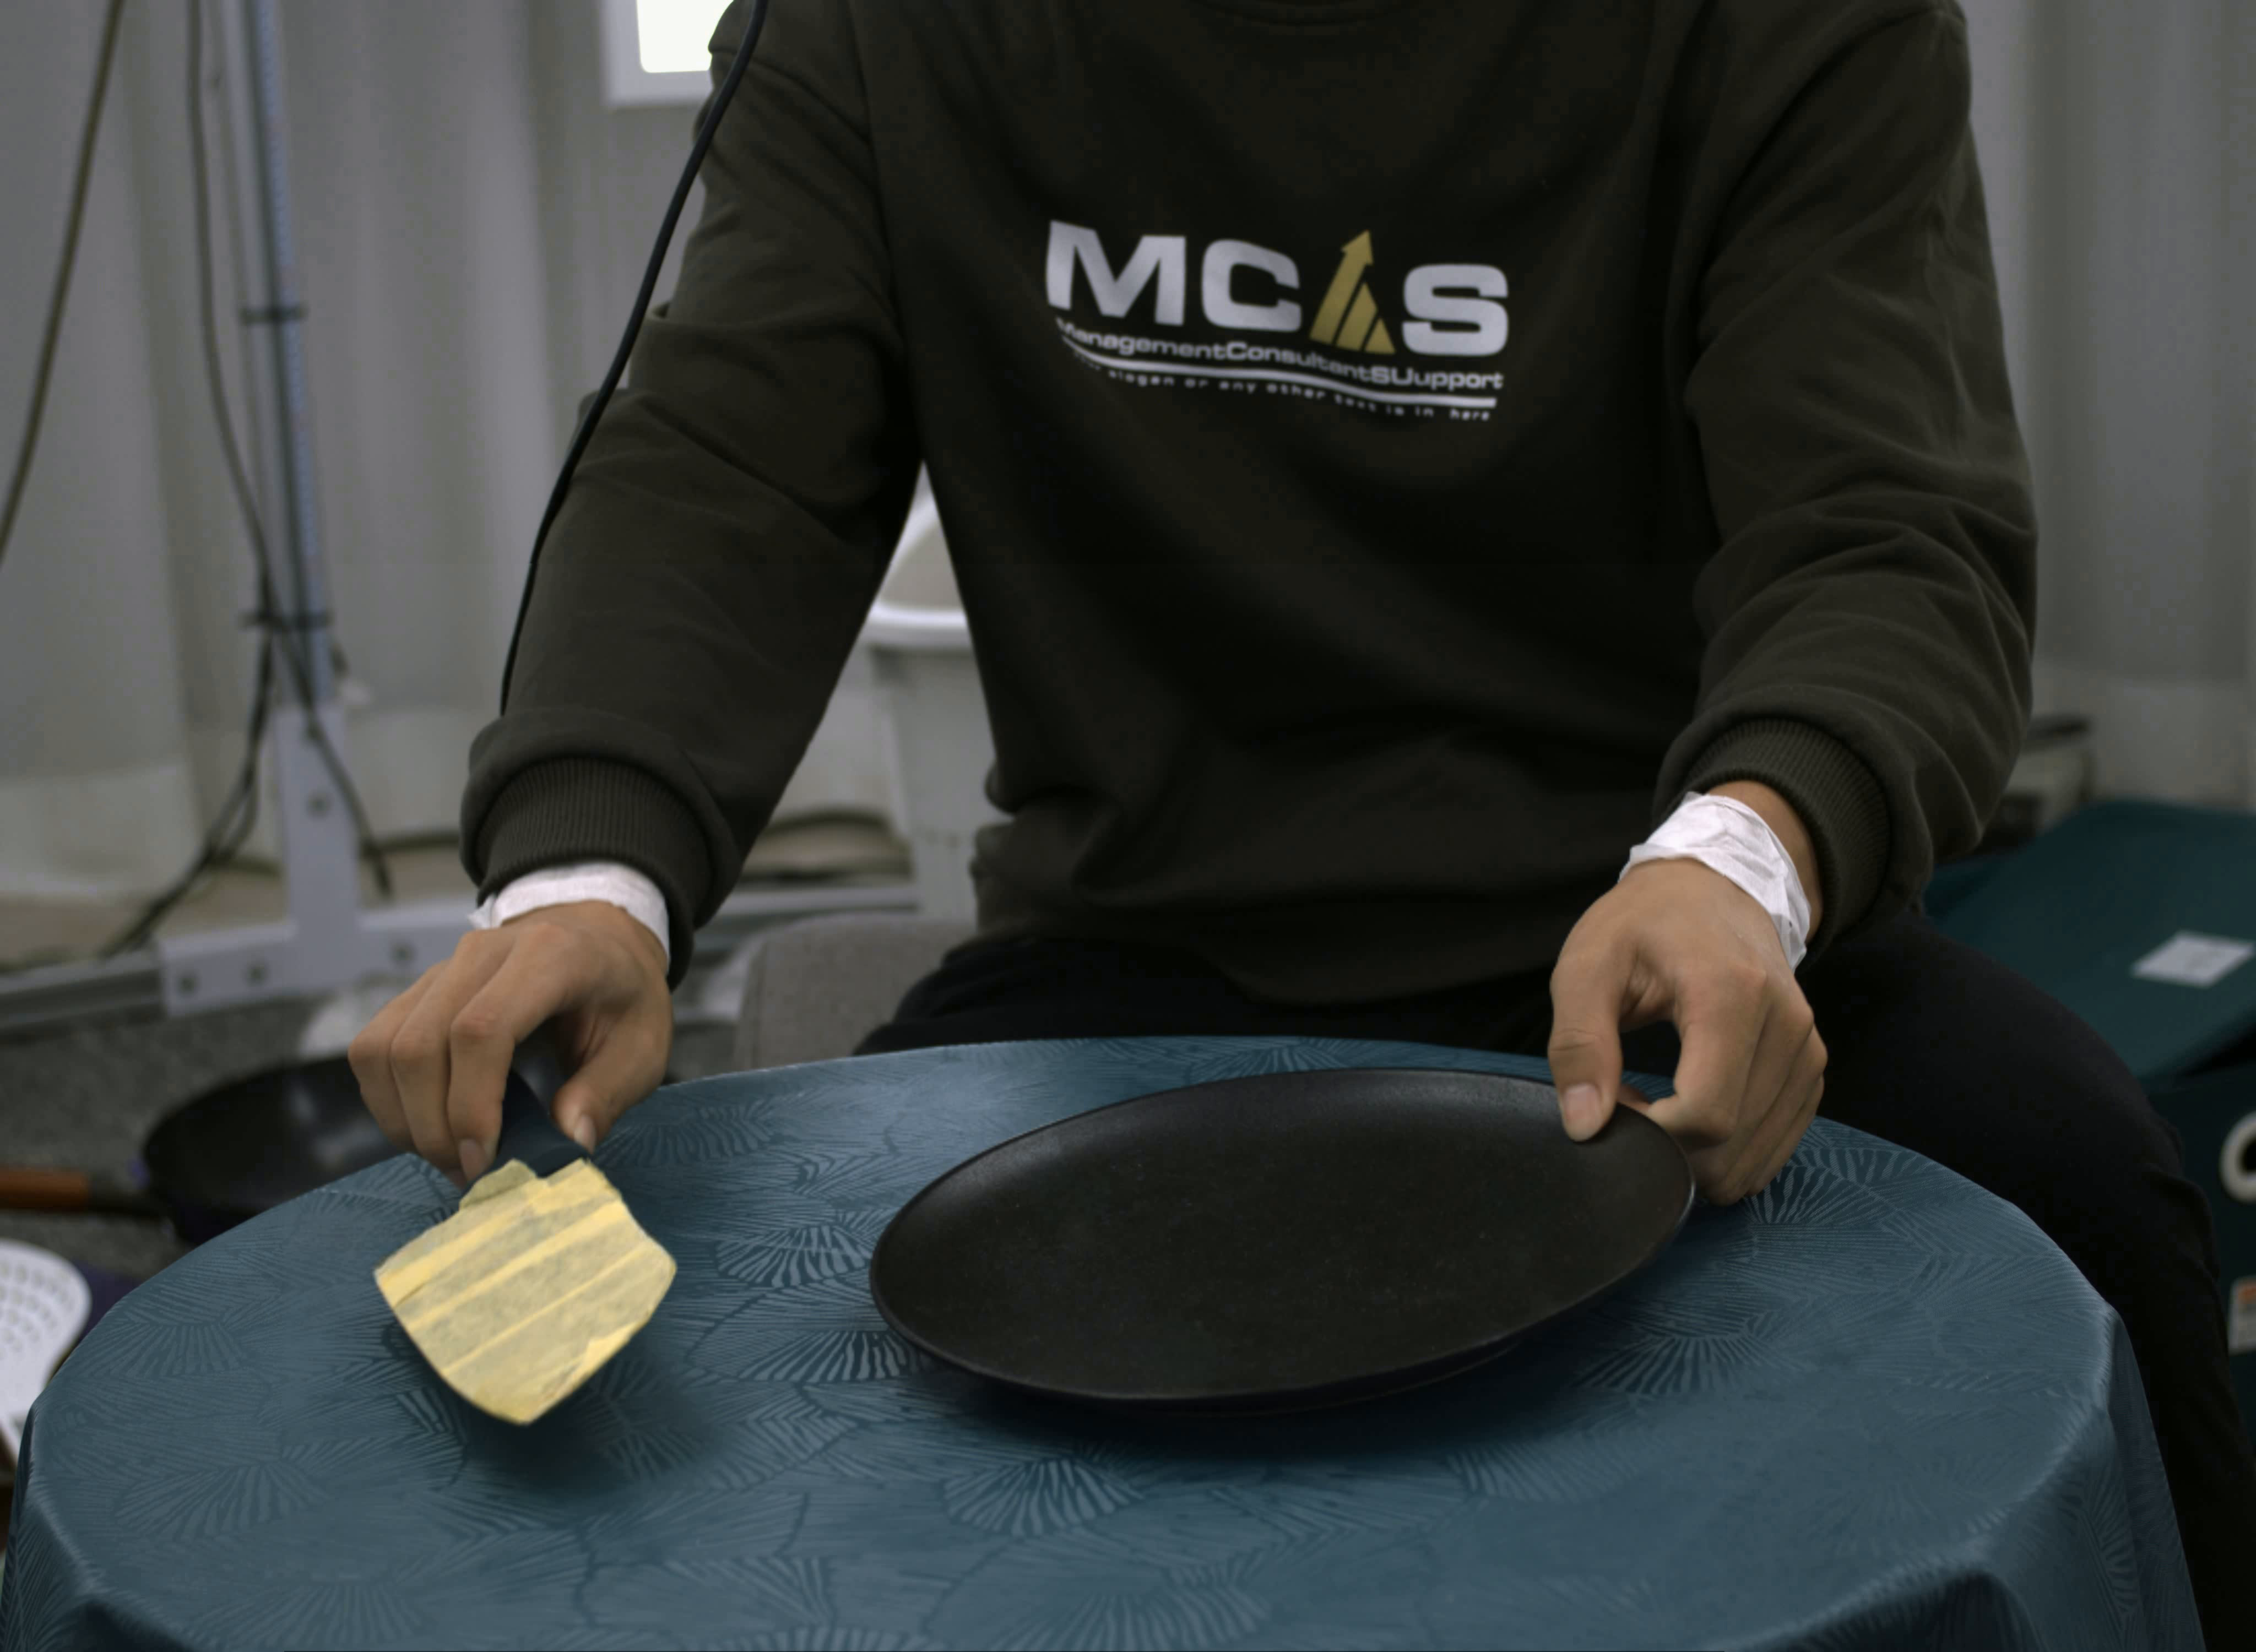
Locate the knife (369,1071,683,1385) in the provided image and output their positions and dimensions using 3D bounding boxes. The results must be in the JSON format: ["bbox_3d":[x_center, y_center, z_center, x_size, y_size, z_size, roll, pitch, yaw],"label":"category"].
[{"bbox_3d":[-0.186,0.118,1.619,0.081,0.027,0.291,-26,17,-9],"label":"knife"}]

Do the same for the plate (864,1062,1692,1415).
[{"bbox_3d":[0.044,0.124,1.595,0.243,0.023,0.246,-7,18,2],"label":"plate"}]
